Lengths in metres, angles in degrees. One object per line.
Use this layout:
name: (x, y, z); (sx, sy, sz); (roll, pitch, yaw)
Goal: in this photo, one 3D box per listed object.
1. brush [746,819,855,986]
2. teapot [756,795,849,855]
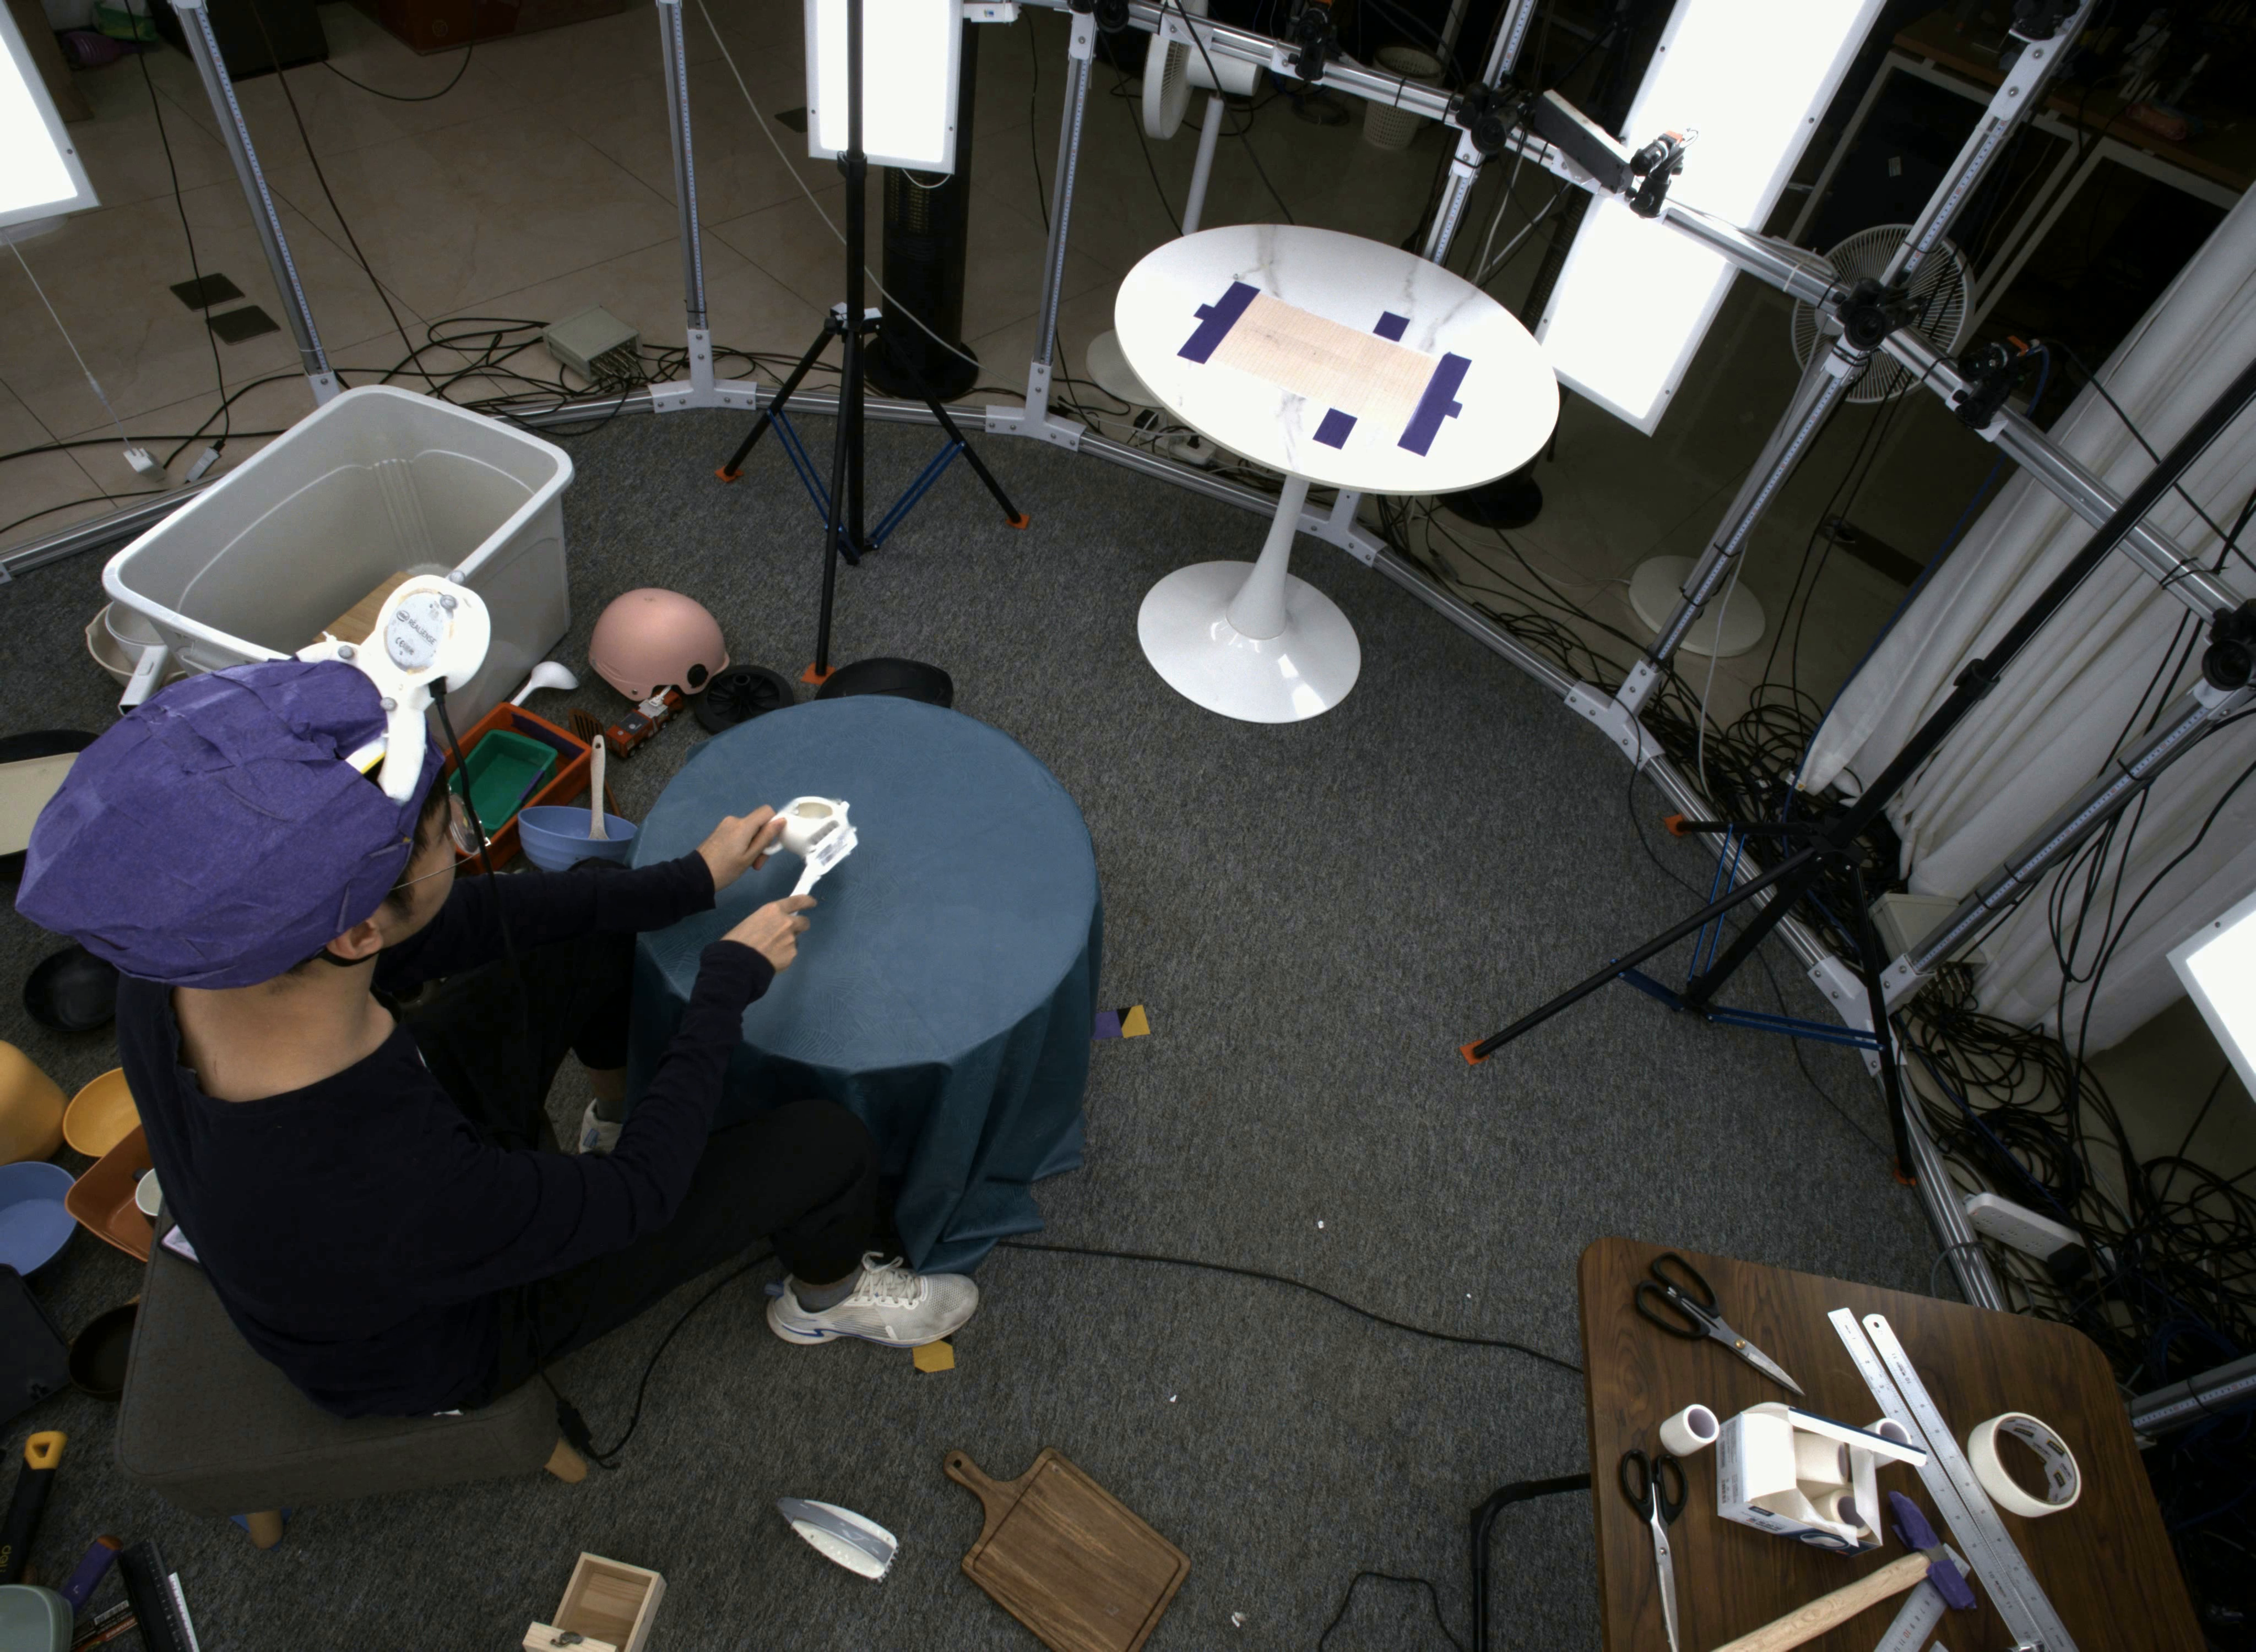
brush: (-0.398, 0.085, 1.529); (0.048, 0.036, 0.242); (4, 48, 27)
teapot: (-0.408, 0.002, 1.627); (0.128, 0.058, 0.090); (-19, 43, -42)
